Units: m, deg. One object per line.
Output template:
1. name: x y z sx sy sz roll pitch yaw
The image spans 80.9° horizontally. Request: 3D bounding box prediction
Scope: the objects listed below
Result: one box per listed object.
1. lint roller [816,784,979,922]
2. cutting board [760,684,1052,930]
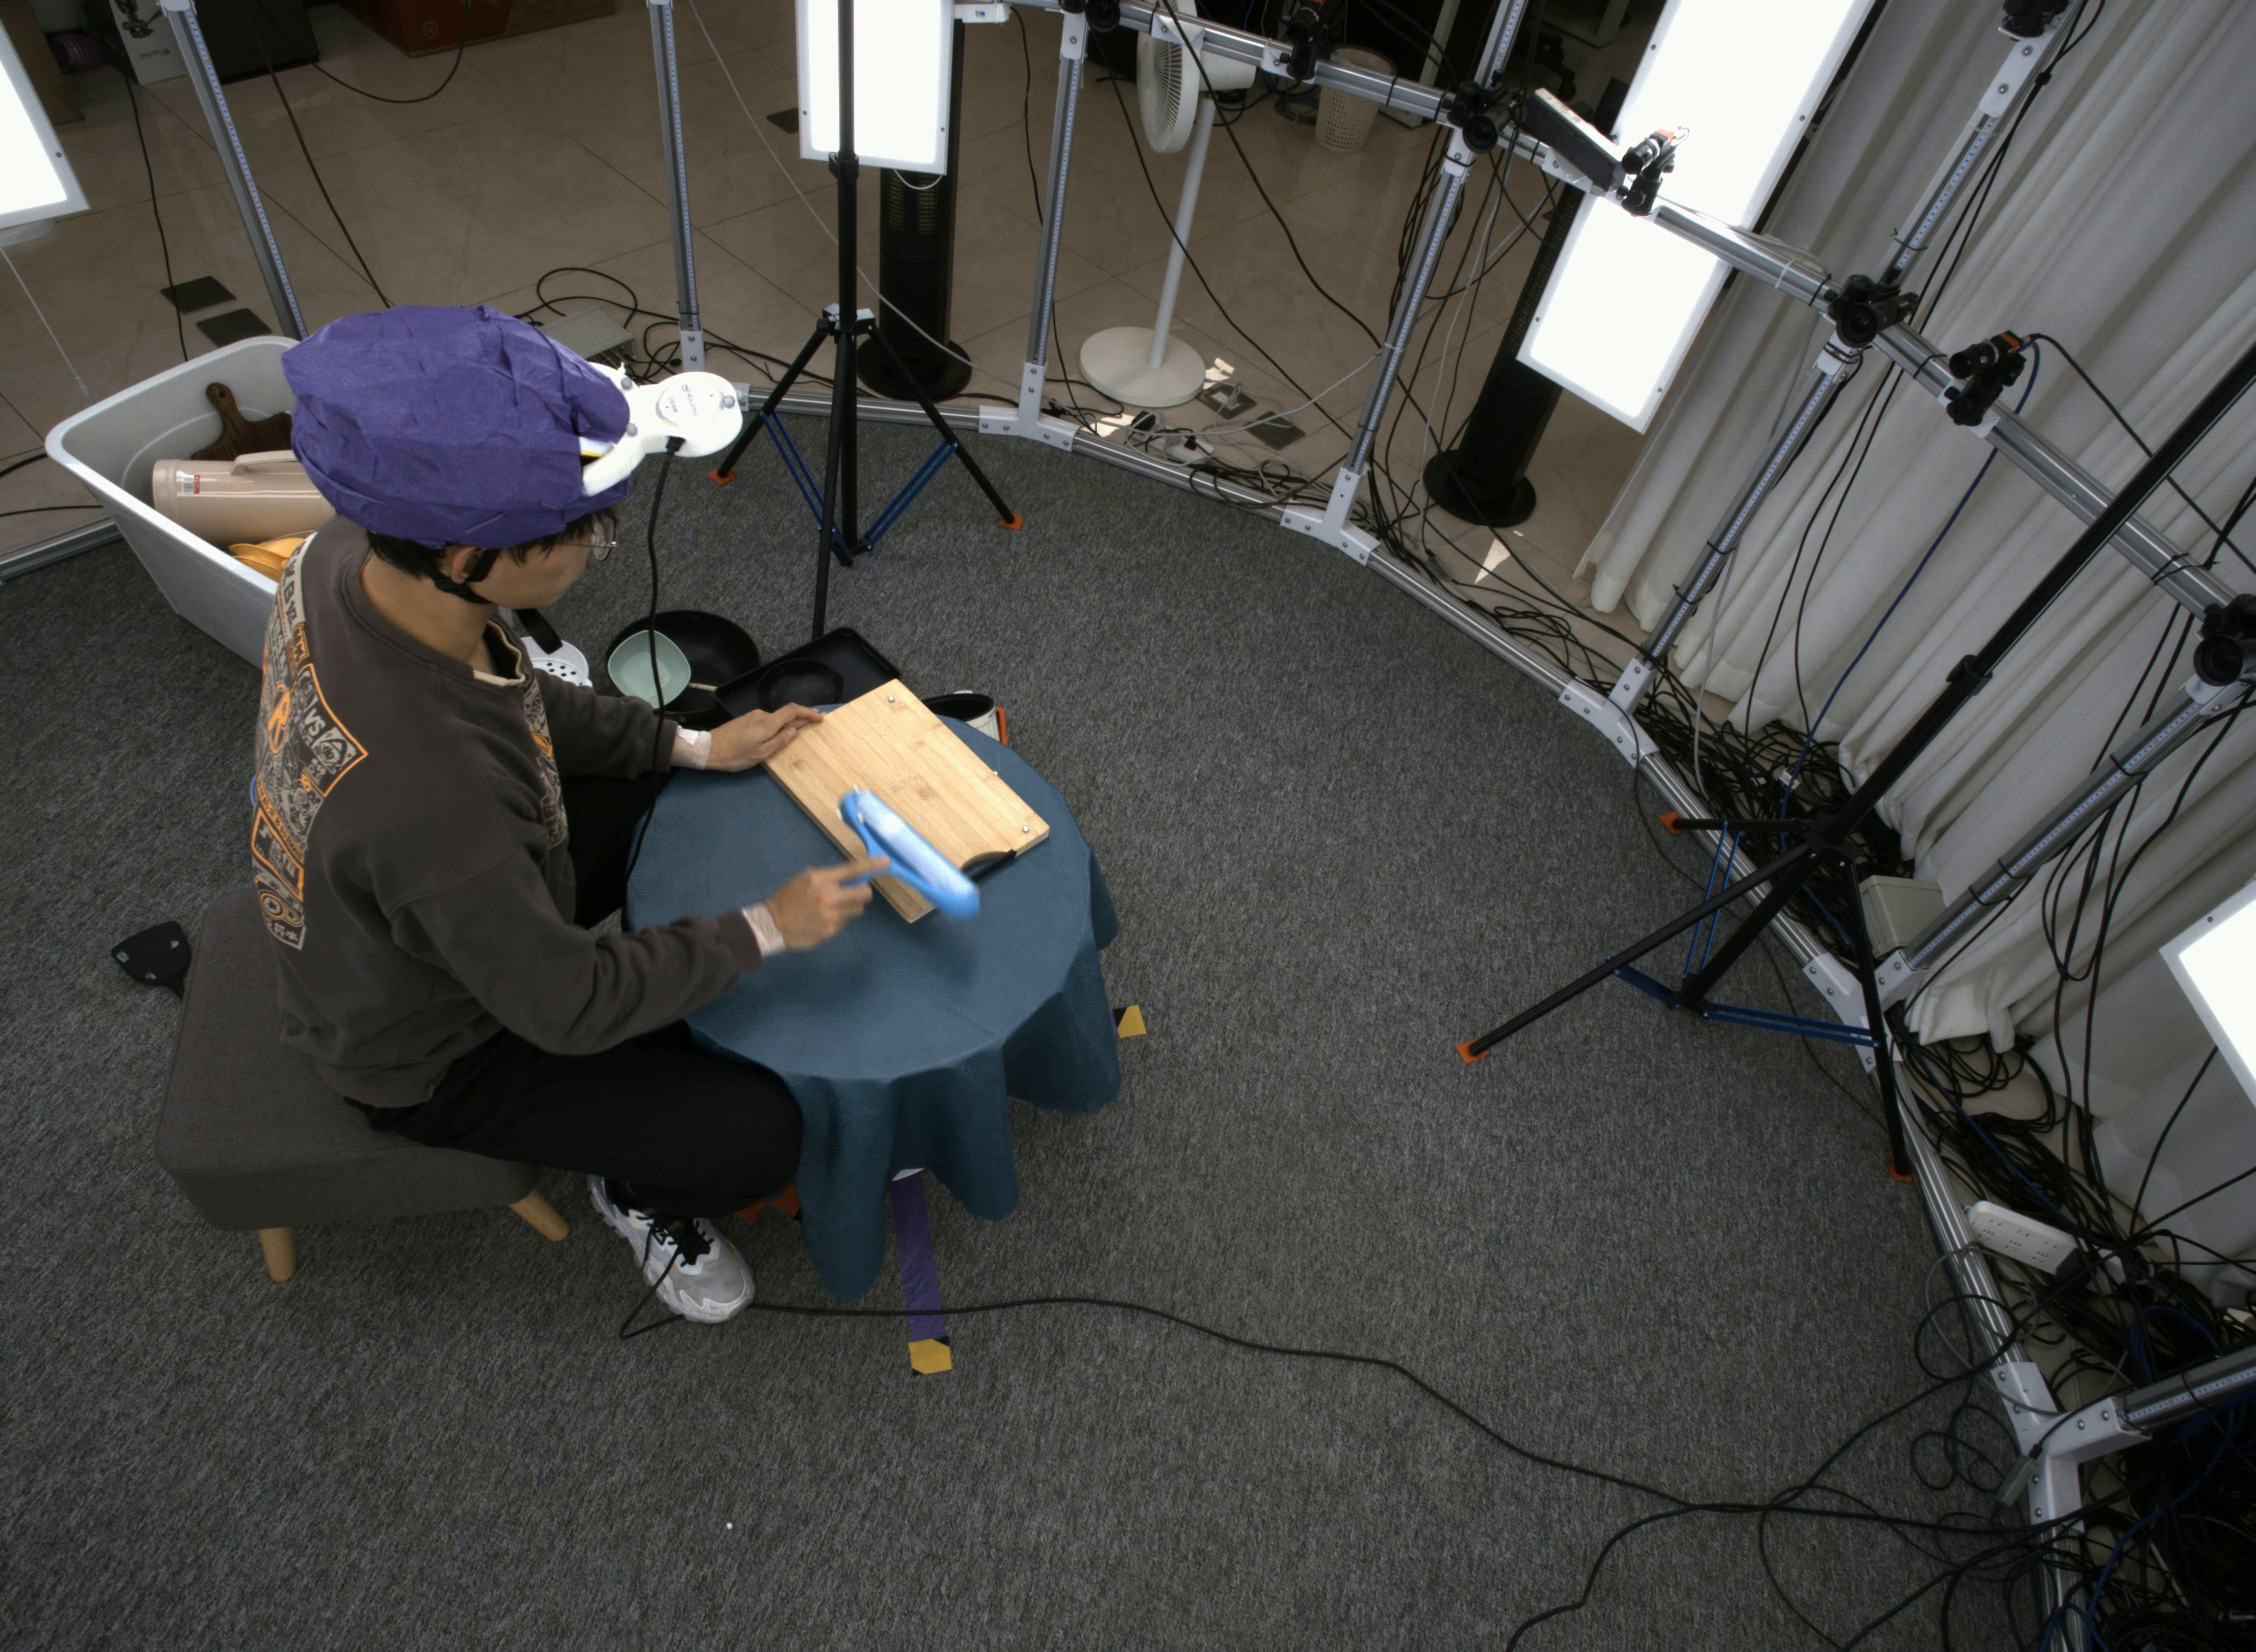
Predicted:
1. lint roller: -0.308 0.052 1.597 0.226 0.069 0.180 39 44 8
2. cutting board: -0.305 -0.039 1.786 0.341 0.024 0.251 43 57 18
